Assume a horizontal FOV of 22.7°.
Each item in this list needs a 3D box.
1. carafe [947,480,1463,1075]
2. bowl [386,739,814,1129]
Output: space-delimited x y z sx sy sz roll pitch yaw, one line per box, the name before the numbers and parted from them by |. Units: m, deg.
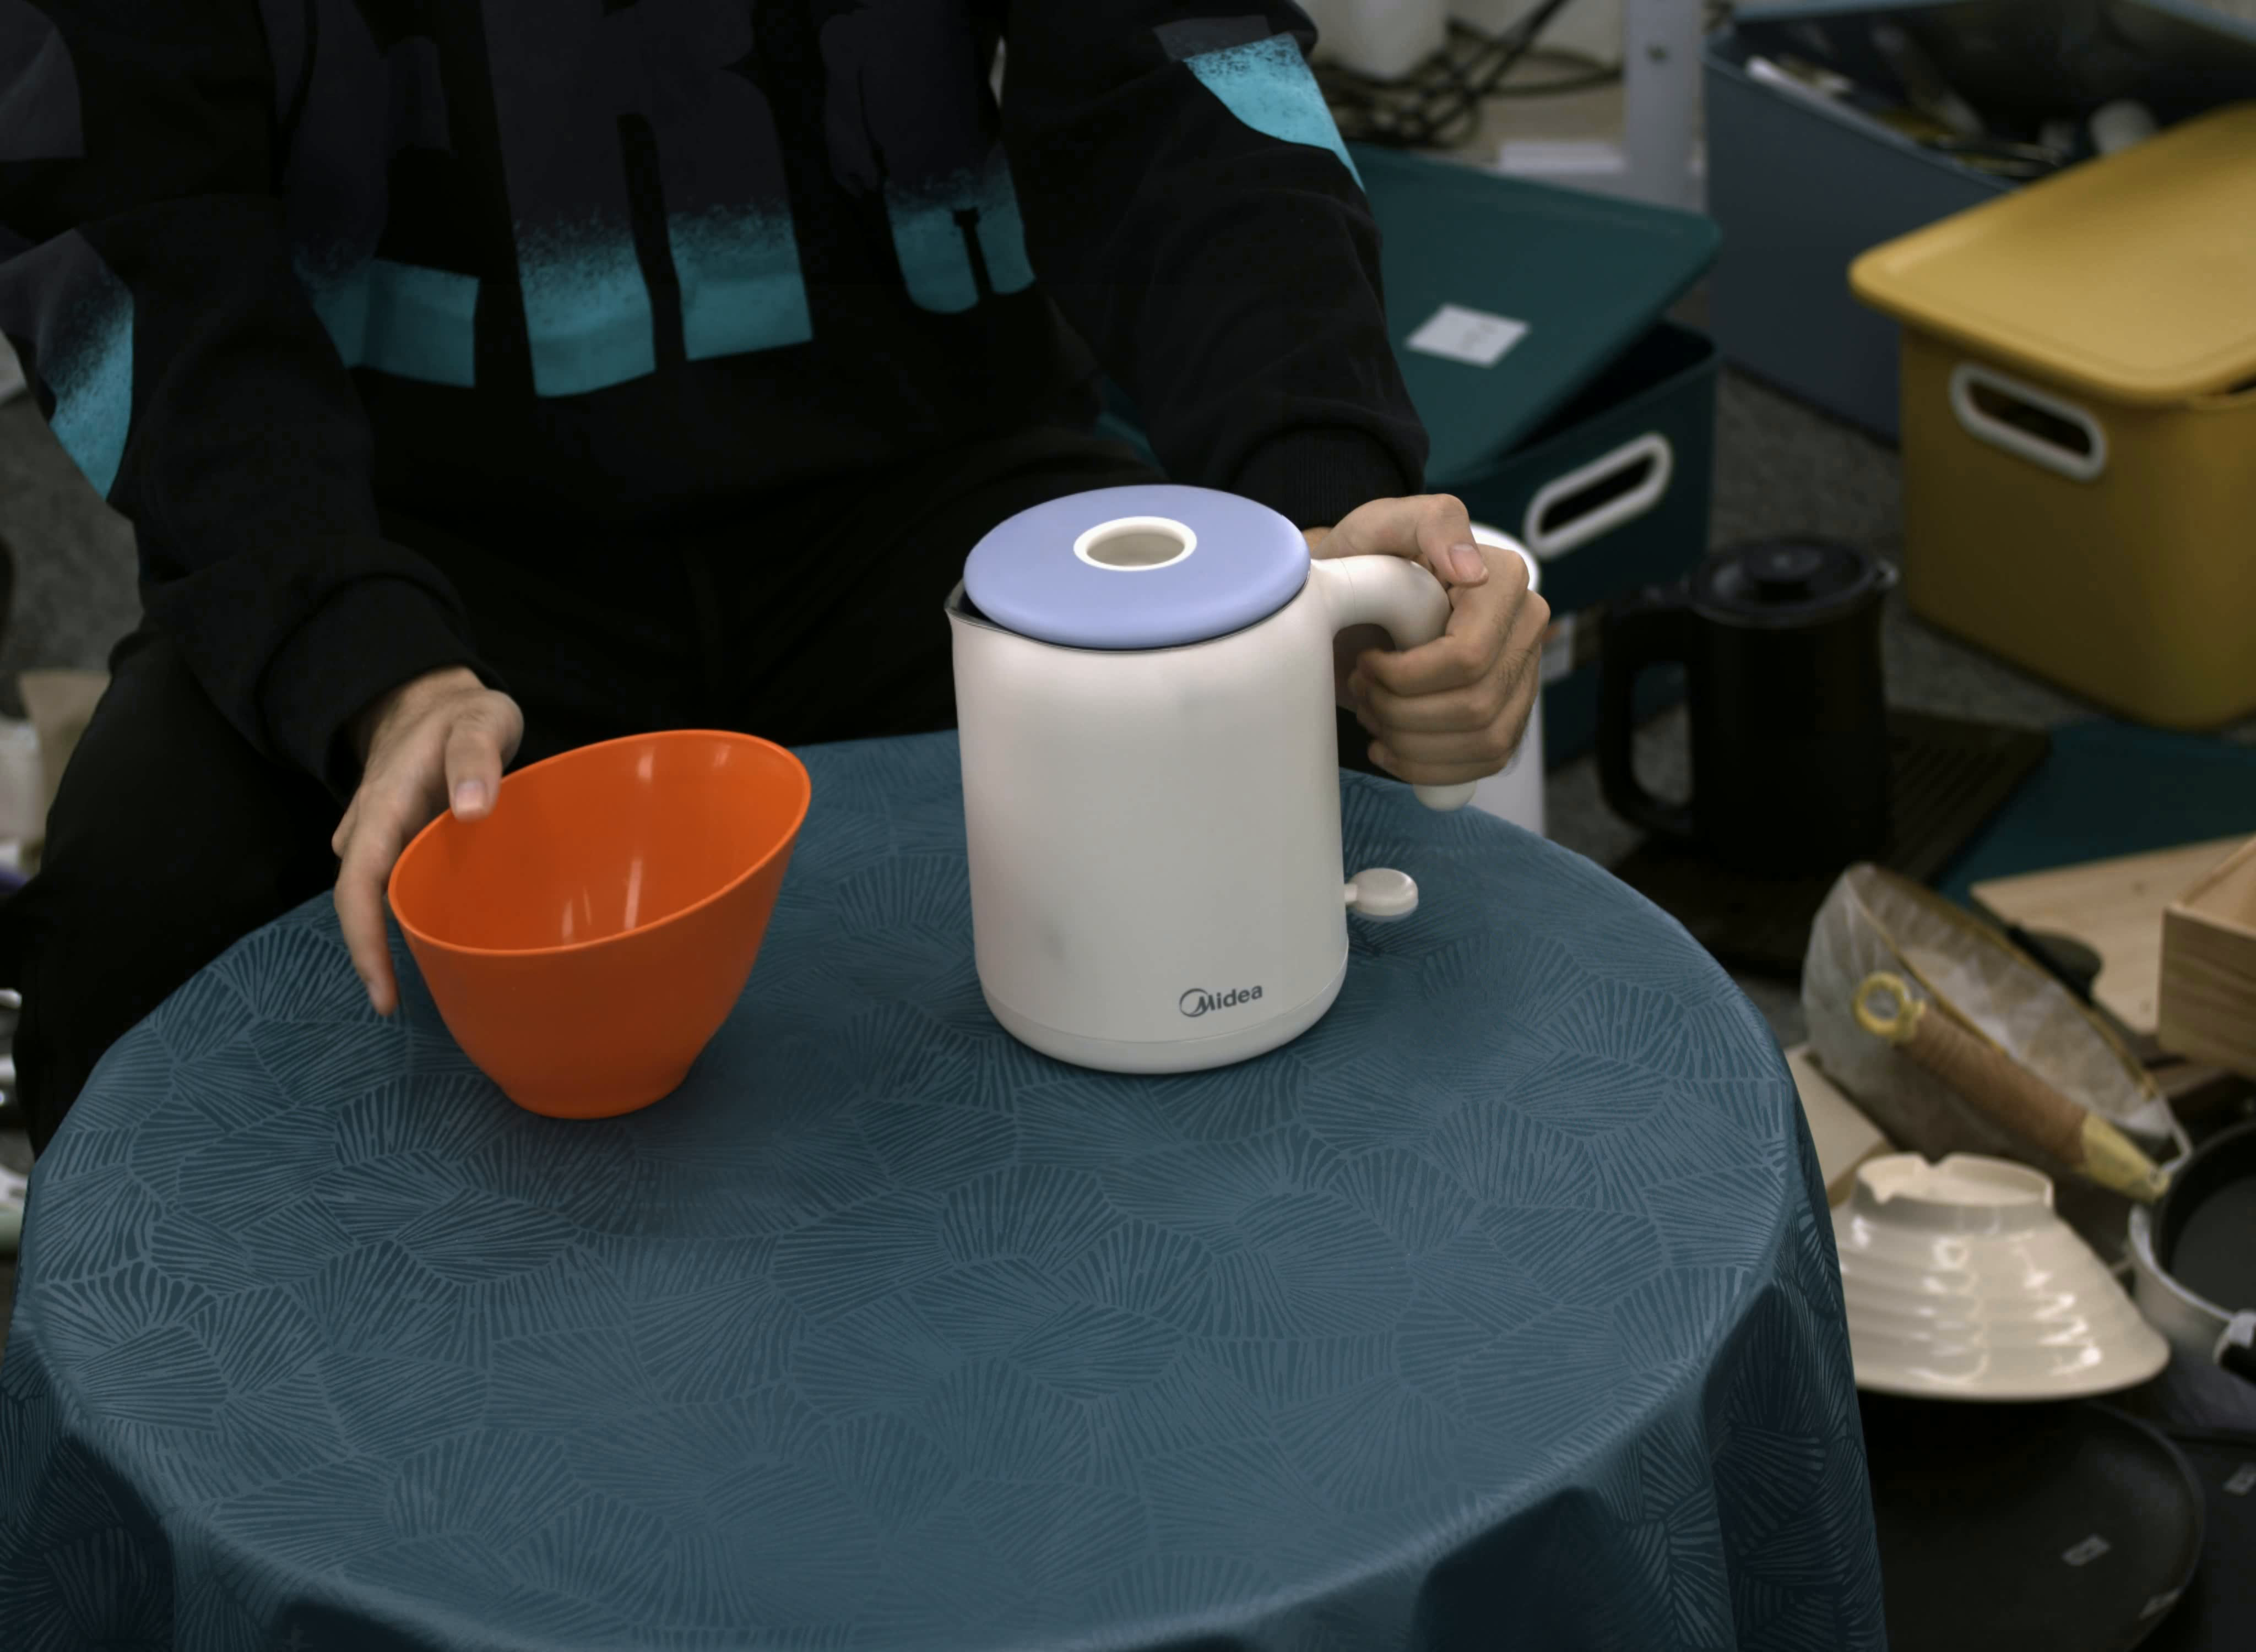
carafe | 0.029 -0.021 1.950 0.191 0.180 0.133 -10 29 -19
bowl | -0.177 0.043 1.922 0.147 0.103 0.150 -2 27 1
